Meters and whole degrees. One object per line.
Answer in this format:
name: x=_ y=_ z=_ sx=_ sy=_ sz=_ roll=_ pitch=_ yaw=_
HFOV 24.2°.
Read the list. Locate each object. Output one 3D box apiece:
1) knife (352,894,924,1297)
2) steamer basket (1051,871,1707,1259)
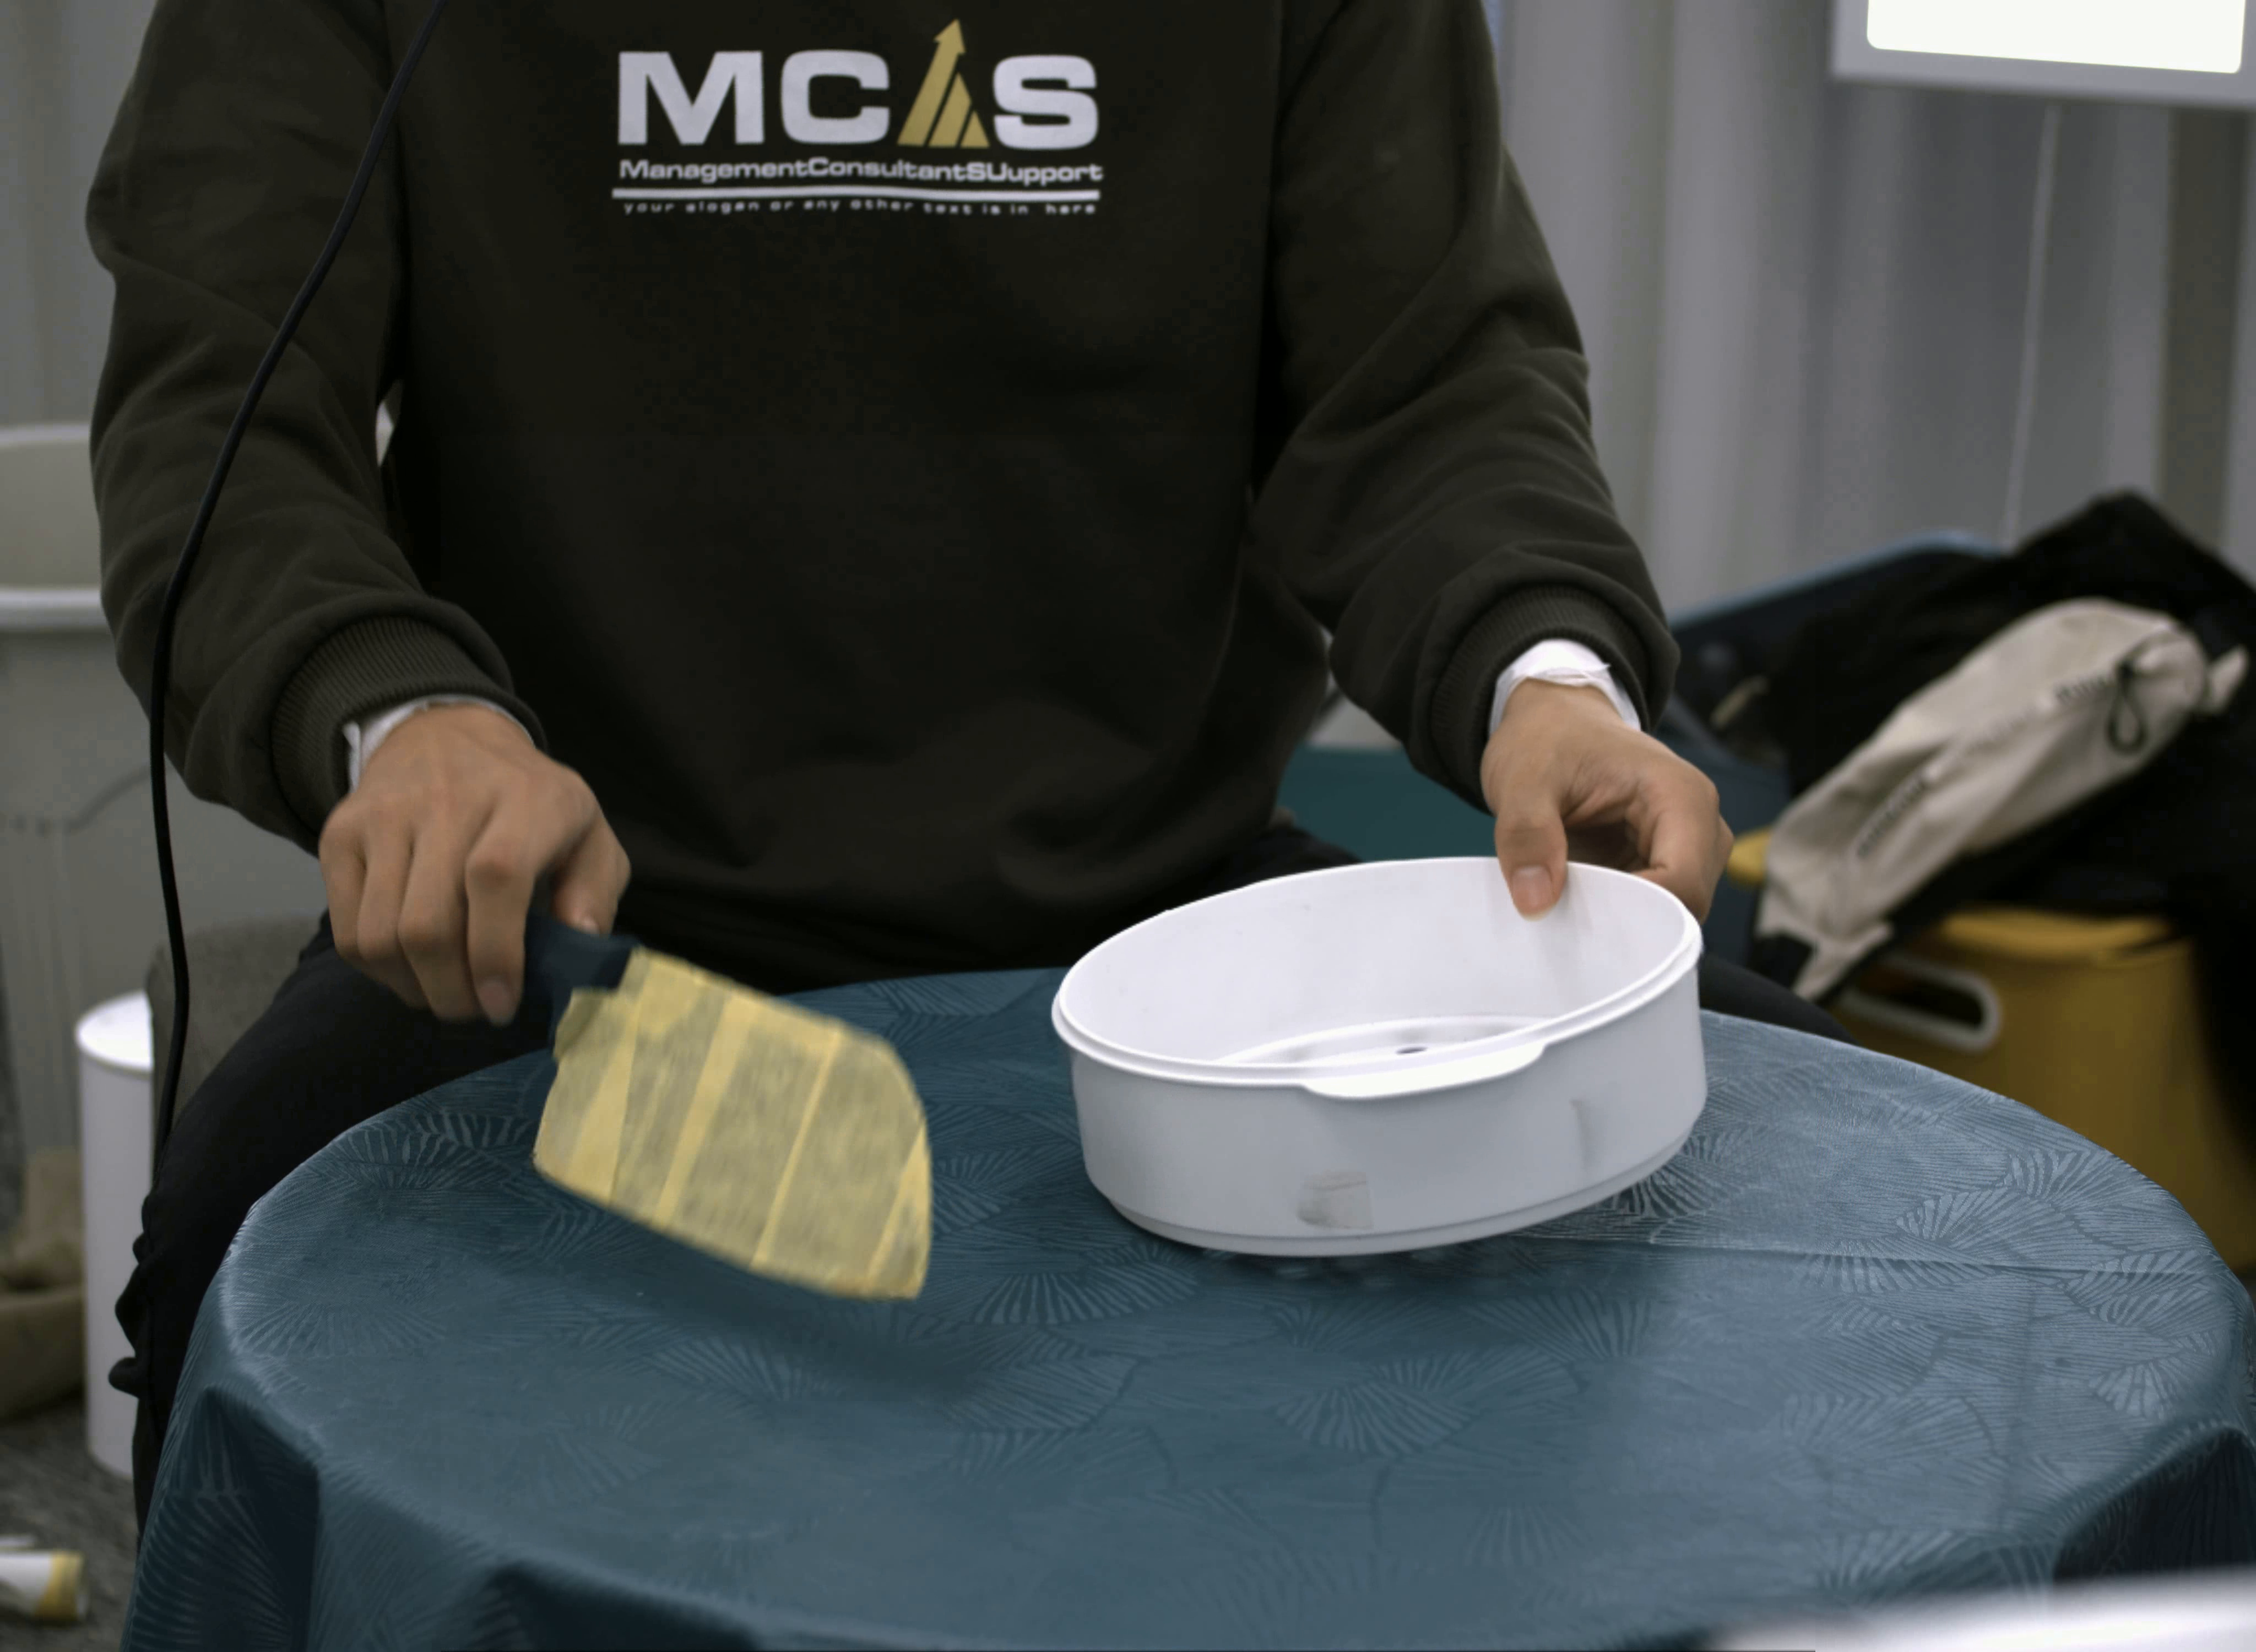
knife: x=-0.148 y=0.075 z=1.538 sx=0.027 sy=0.081 sz=0.285 roll=26 pitch=-3 yaw=-44
steamer basket: x=0.079 y=0.073 z=1.616 sx=0.201 sy=0.070 sz=0.229 roll=-7 pitch=15 yaw=-4
